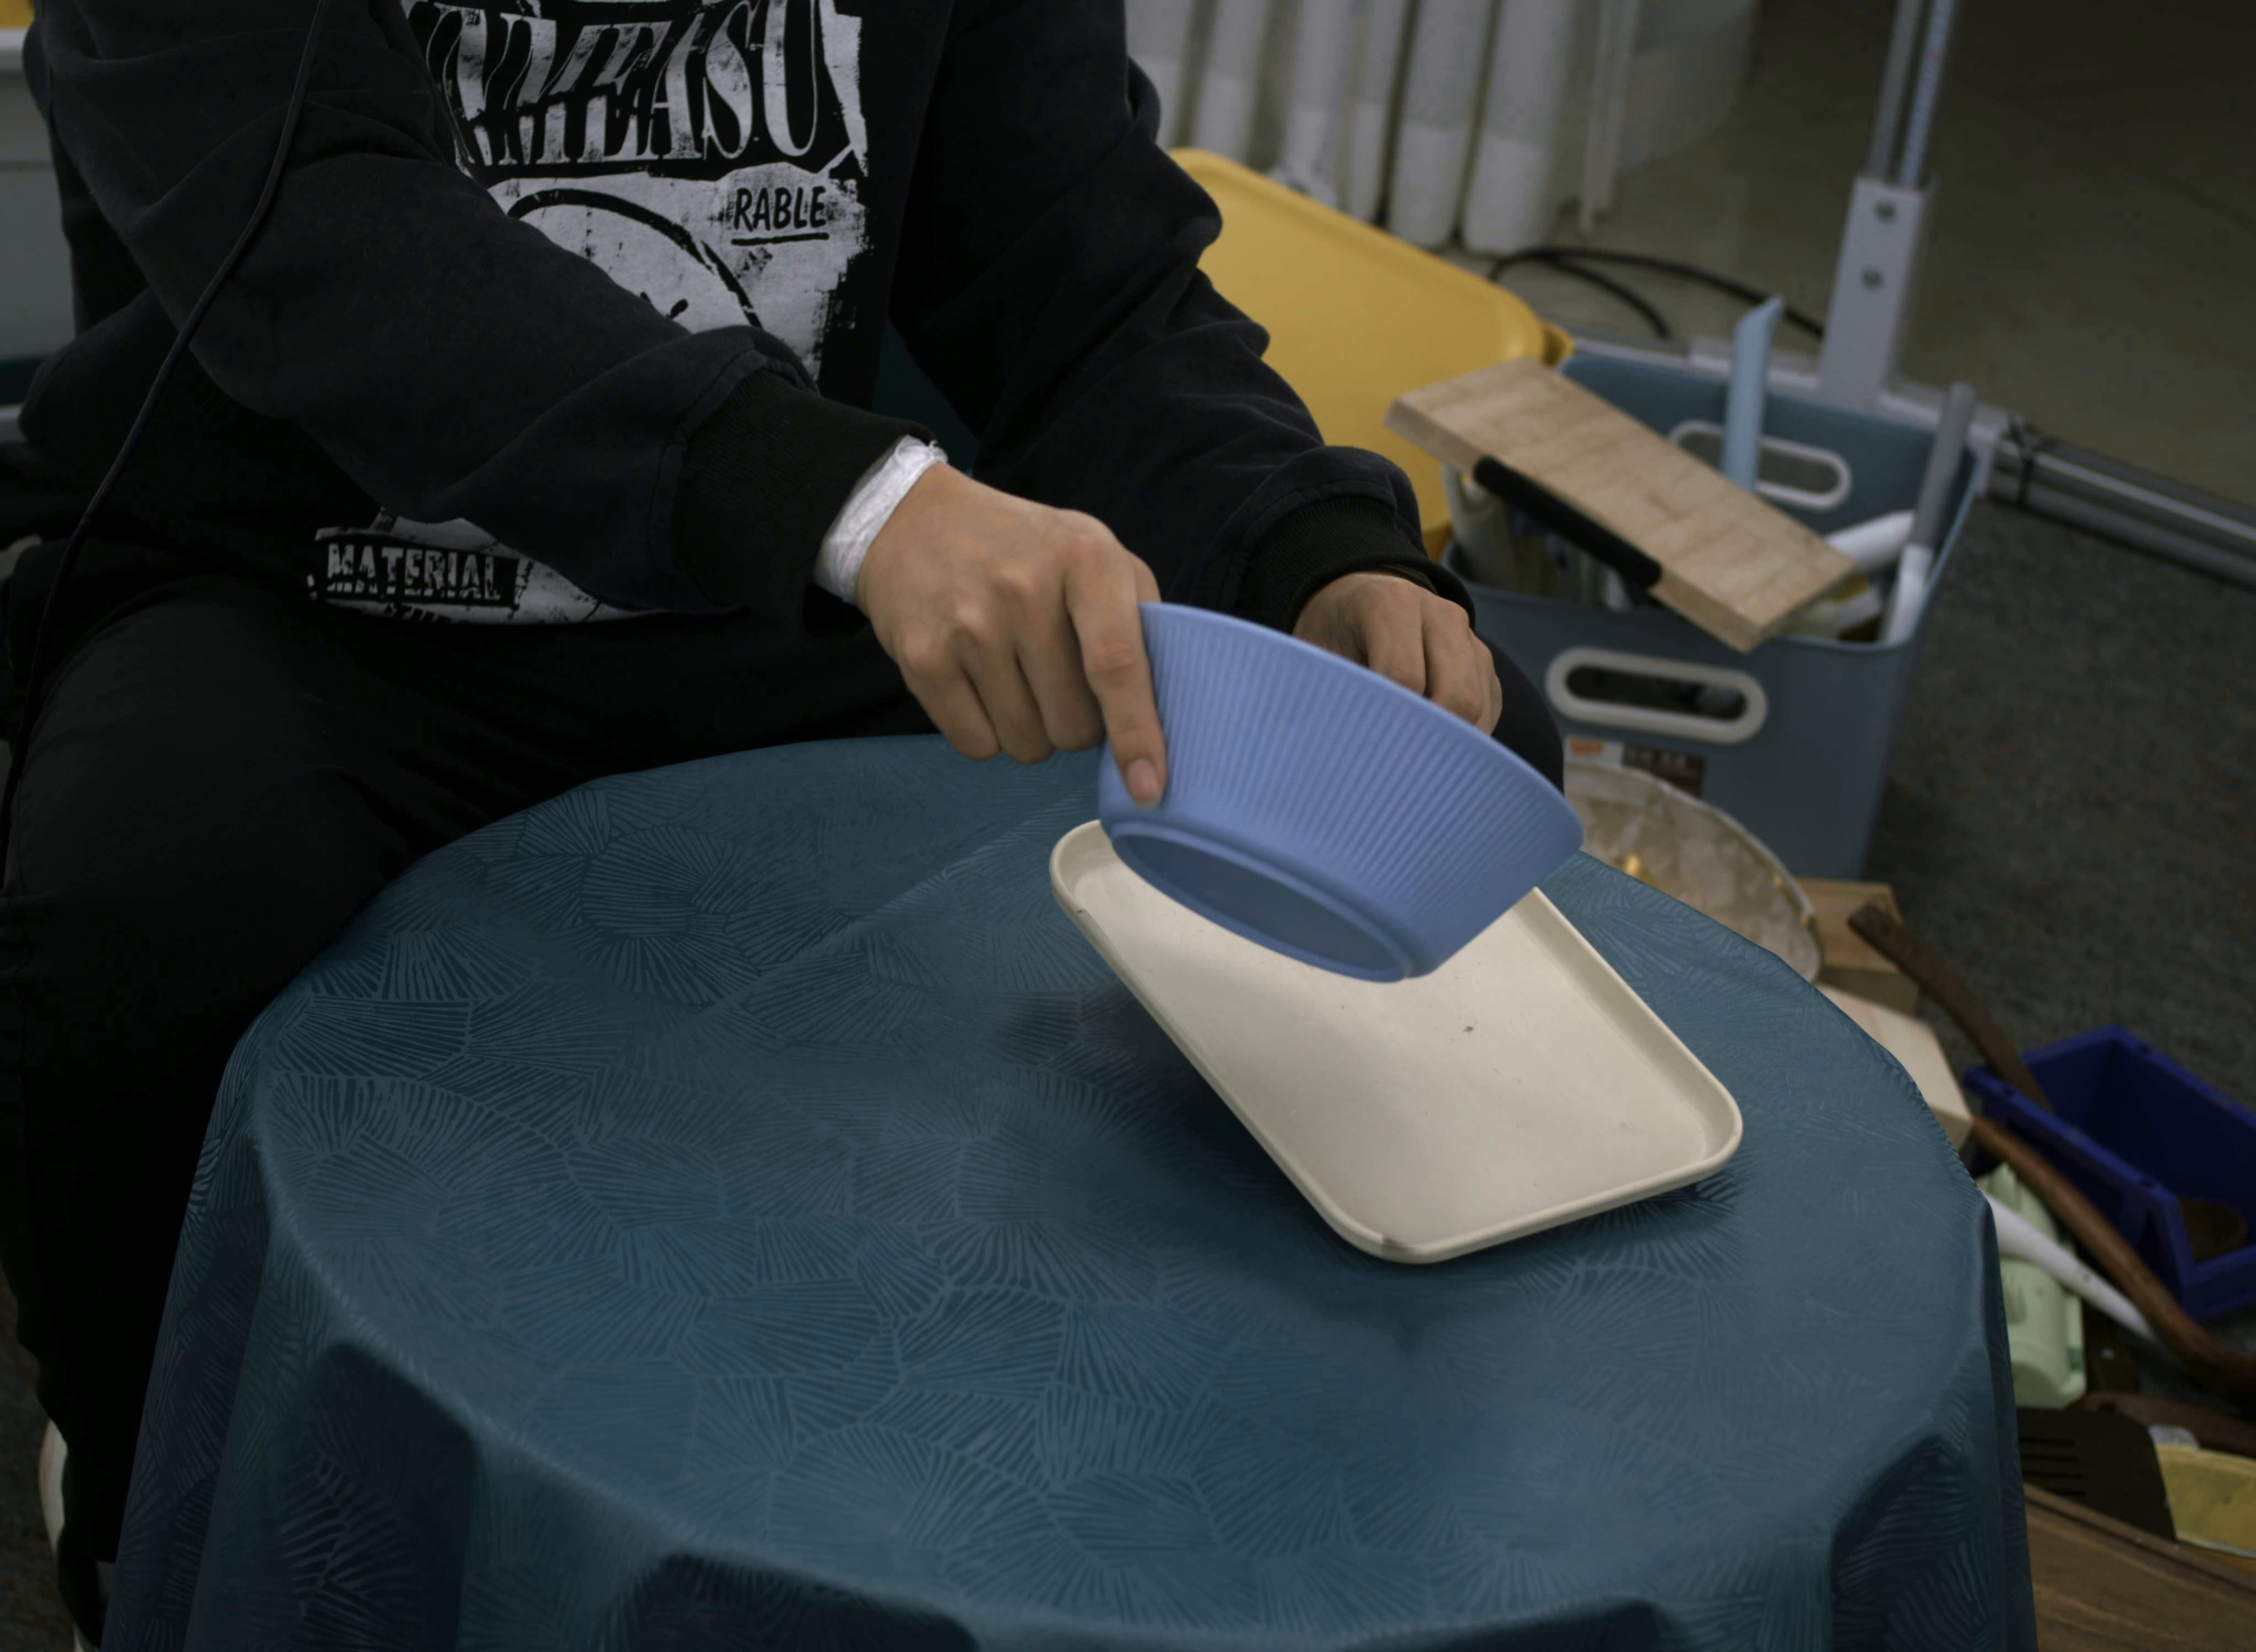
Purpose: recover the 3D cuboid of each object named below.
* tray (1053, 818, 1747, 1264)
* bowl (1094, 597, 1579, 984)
[{"bbox_3d":[0.093,0.064,1.872,0.170,0.017,0.242,-13,43,-30],"label":"tray"},{"bbox_3d":[0.055,-0.004,1.752,0.176,0.070,0.175,25,-12,6],"label":"bowl"}]
